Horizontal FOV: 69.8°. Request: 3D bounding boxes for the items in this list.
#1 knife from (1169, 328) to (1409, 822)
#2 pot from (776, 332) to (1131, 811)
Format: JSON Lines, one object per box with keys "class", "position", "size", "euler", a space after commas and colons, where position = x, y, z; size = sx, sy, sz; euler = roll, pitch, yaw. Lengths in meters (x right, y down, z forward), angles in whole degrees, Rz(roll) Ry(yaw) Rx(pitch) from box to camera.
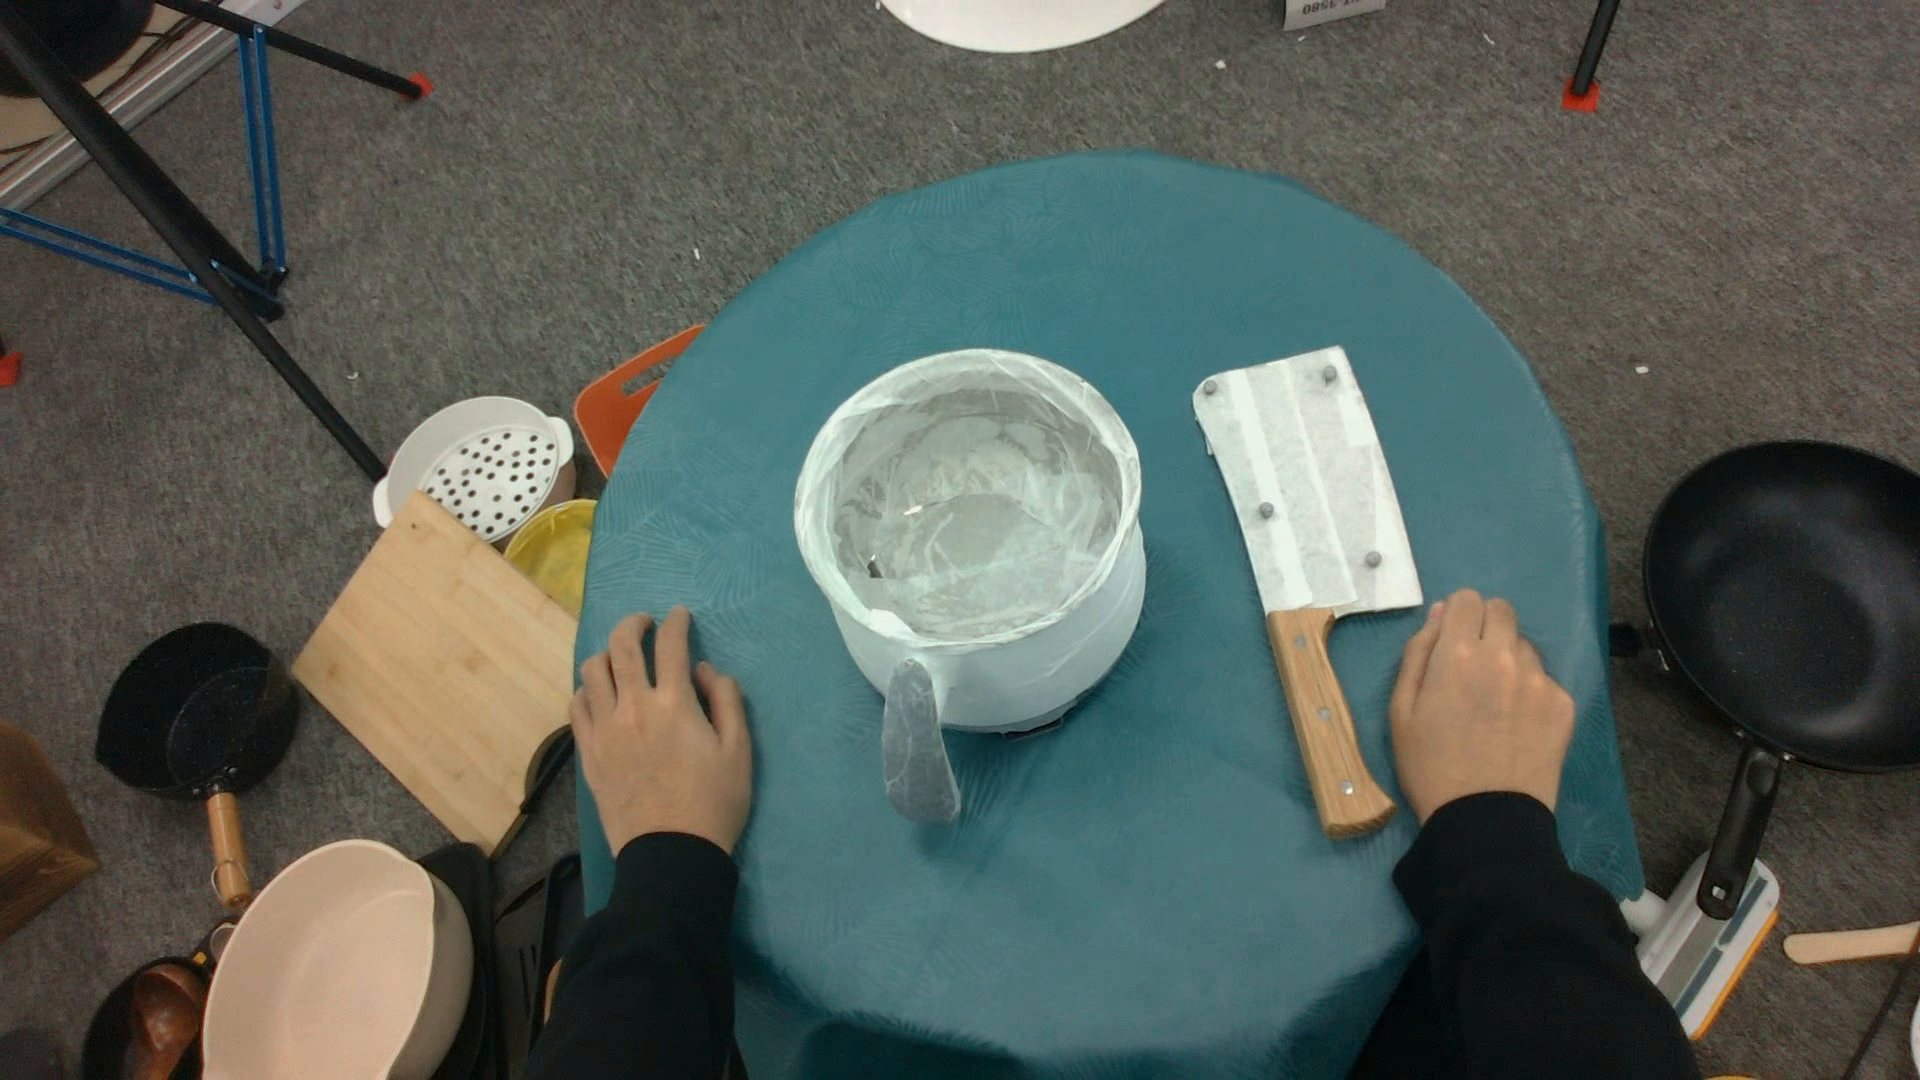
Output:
{"class": "knife", "position": [0.192, 0.007, 0.780], "size": [0.114, 0.021, 0.316], "euler": [-7, 58, 4]}
{"class": "pot", "position": [-0.003, 0.021, 0.734], "size": [0.178, 0.136, 0.234], "euler": [8, 62, 13]}
